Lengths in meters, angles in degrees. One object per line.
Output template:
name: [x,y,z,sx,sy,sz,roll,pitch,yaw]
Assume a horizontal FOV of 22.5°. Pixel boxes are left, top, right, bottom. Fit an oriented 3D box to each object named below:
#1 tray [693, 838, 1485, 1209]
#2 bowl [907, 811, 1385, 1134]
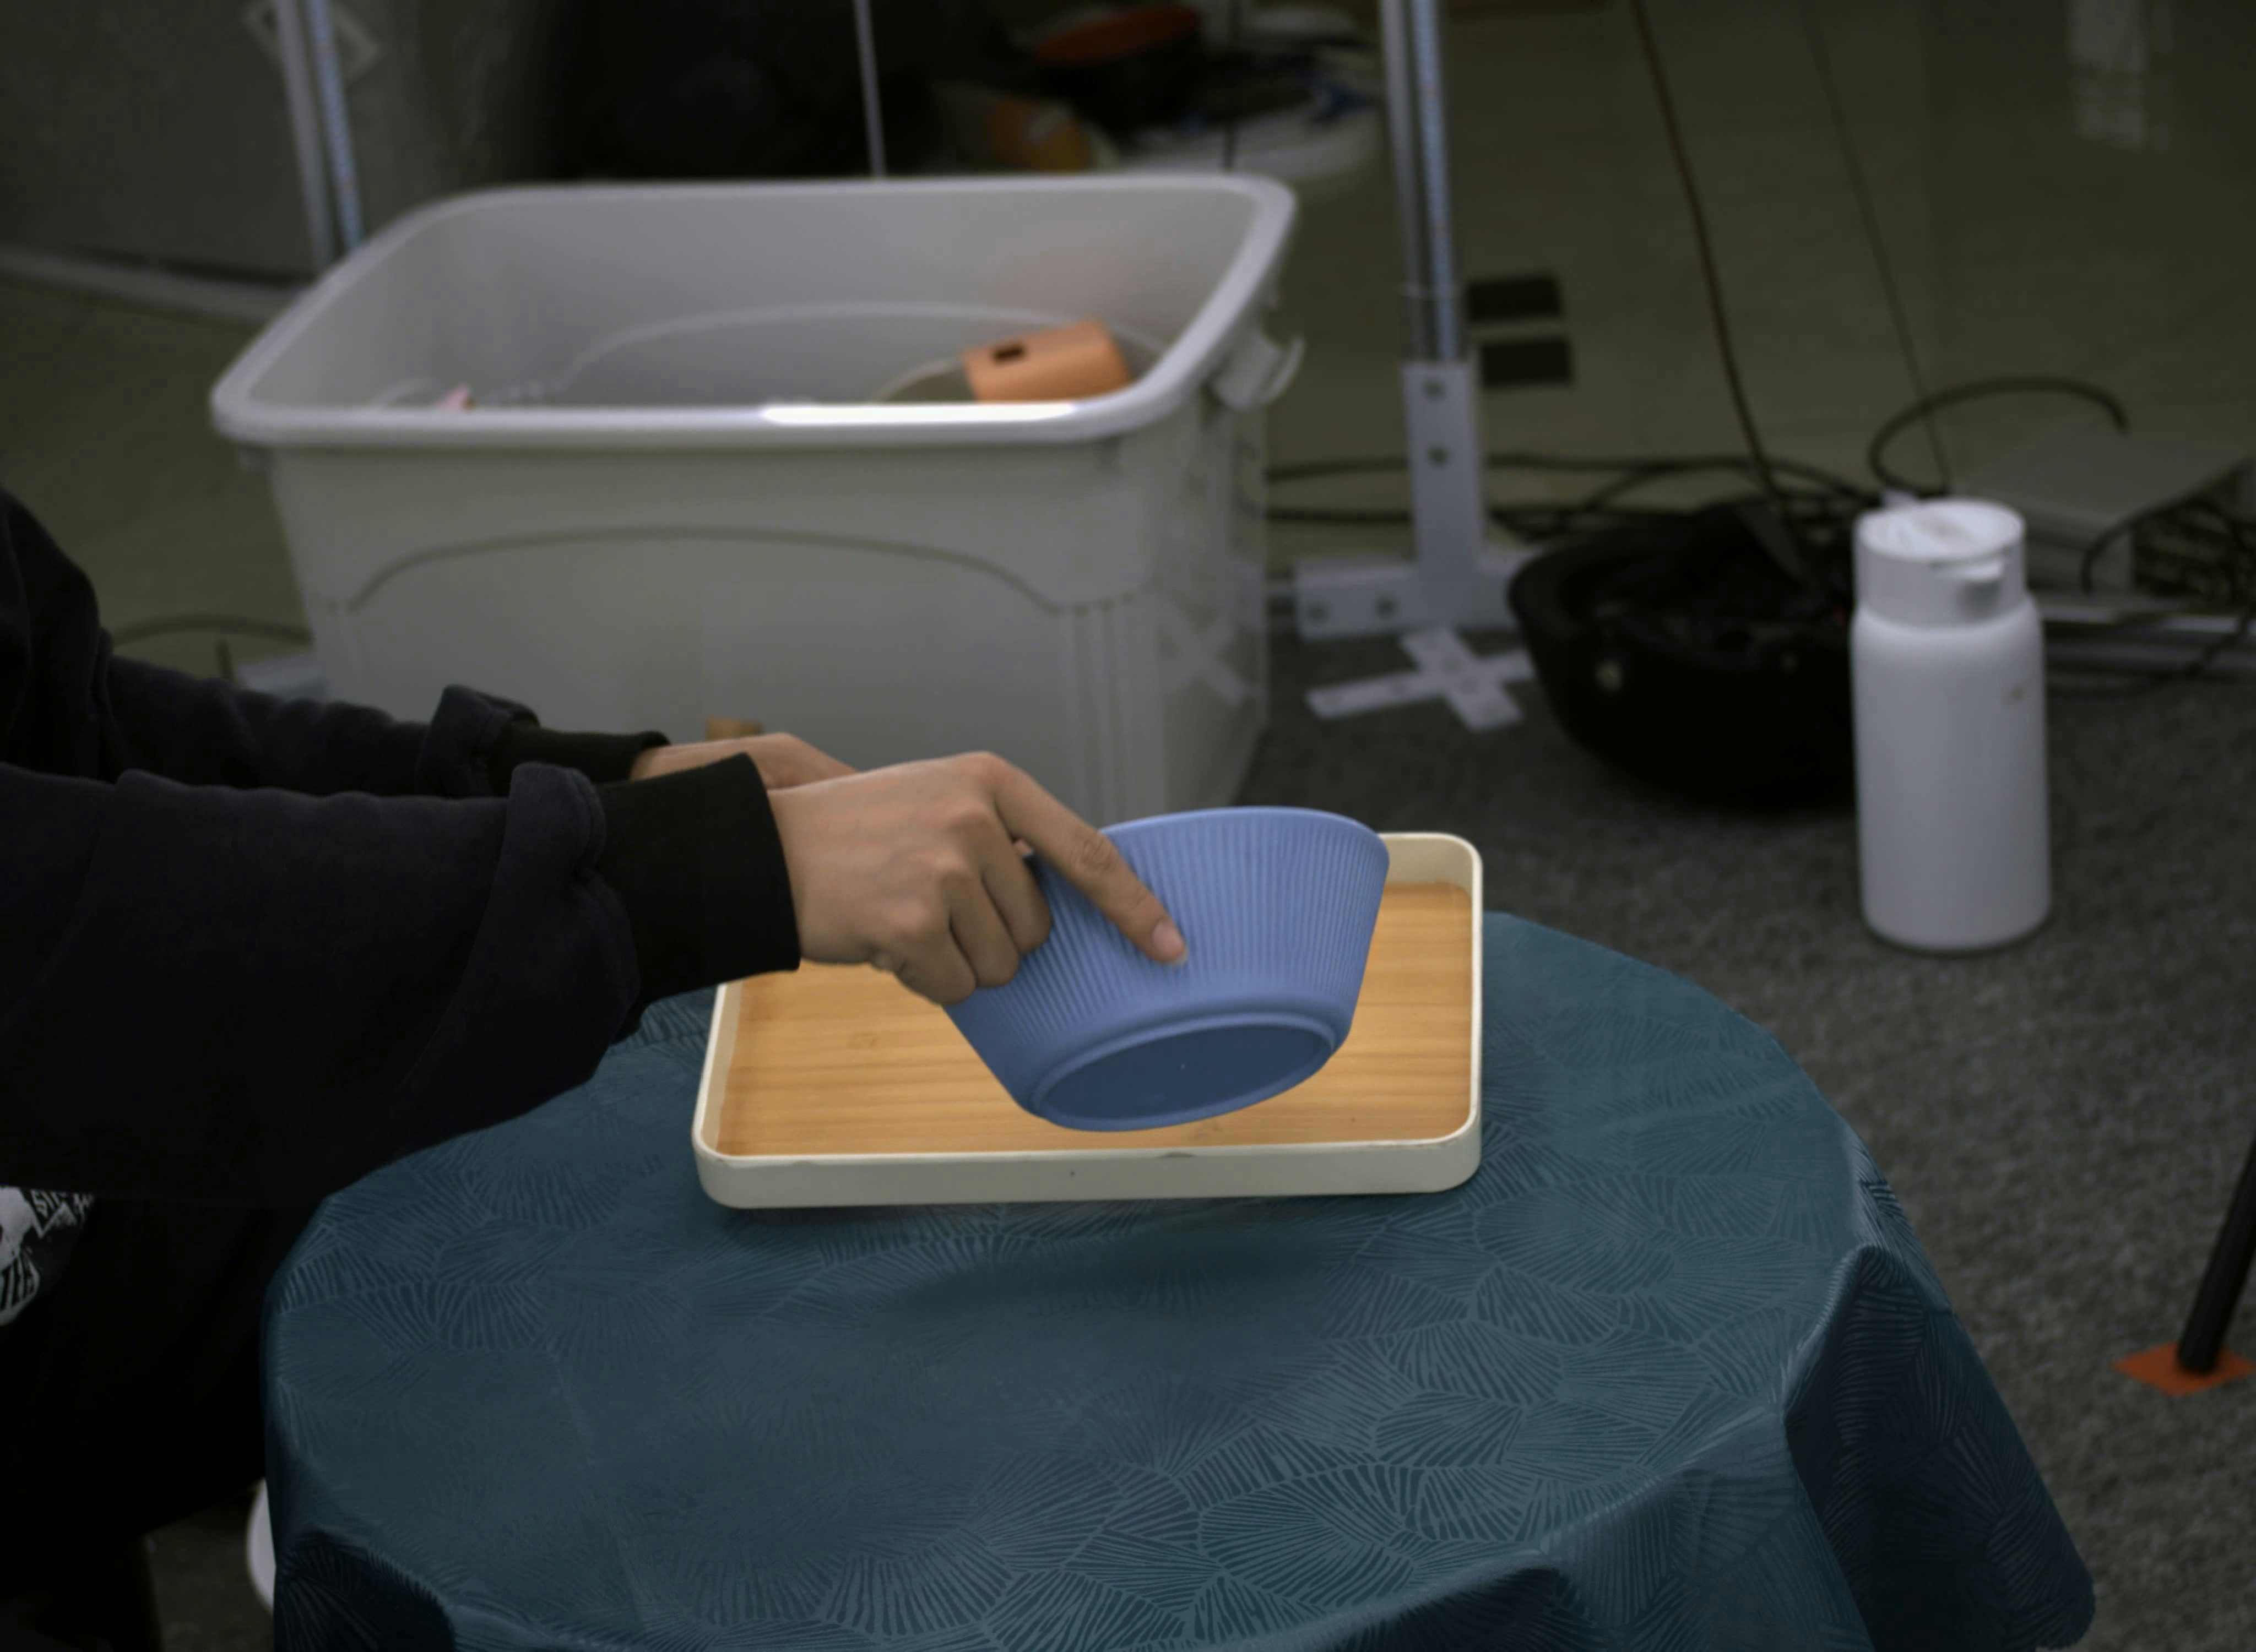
tray: [-0.012,0.075,2.203,0.300,0.028,0.188,-1,39,5]
bowl: [0.012,0.059,2.021,0.176,0.178,0.069,-10,70,-3]
